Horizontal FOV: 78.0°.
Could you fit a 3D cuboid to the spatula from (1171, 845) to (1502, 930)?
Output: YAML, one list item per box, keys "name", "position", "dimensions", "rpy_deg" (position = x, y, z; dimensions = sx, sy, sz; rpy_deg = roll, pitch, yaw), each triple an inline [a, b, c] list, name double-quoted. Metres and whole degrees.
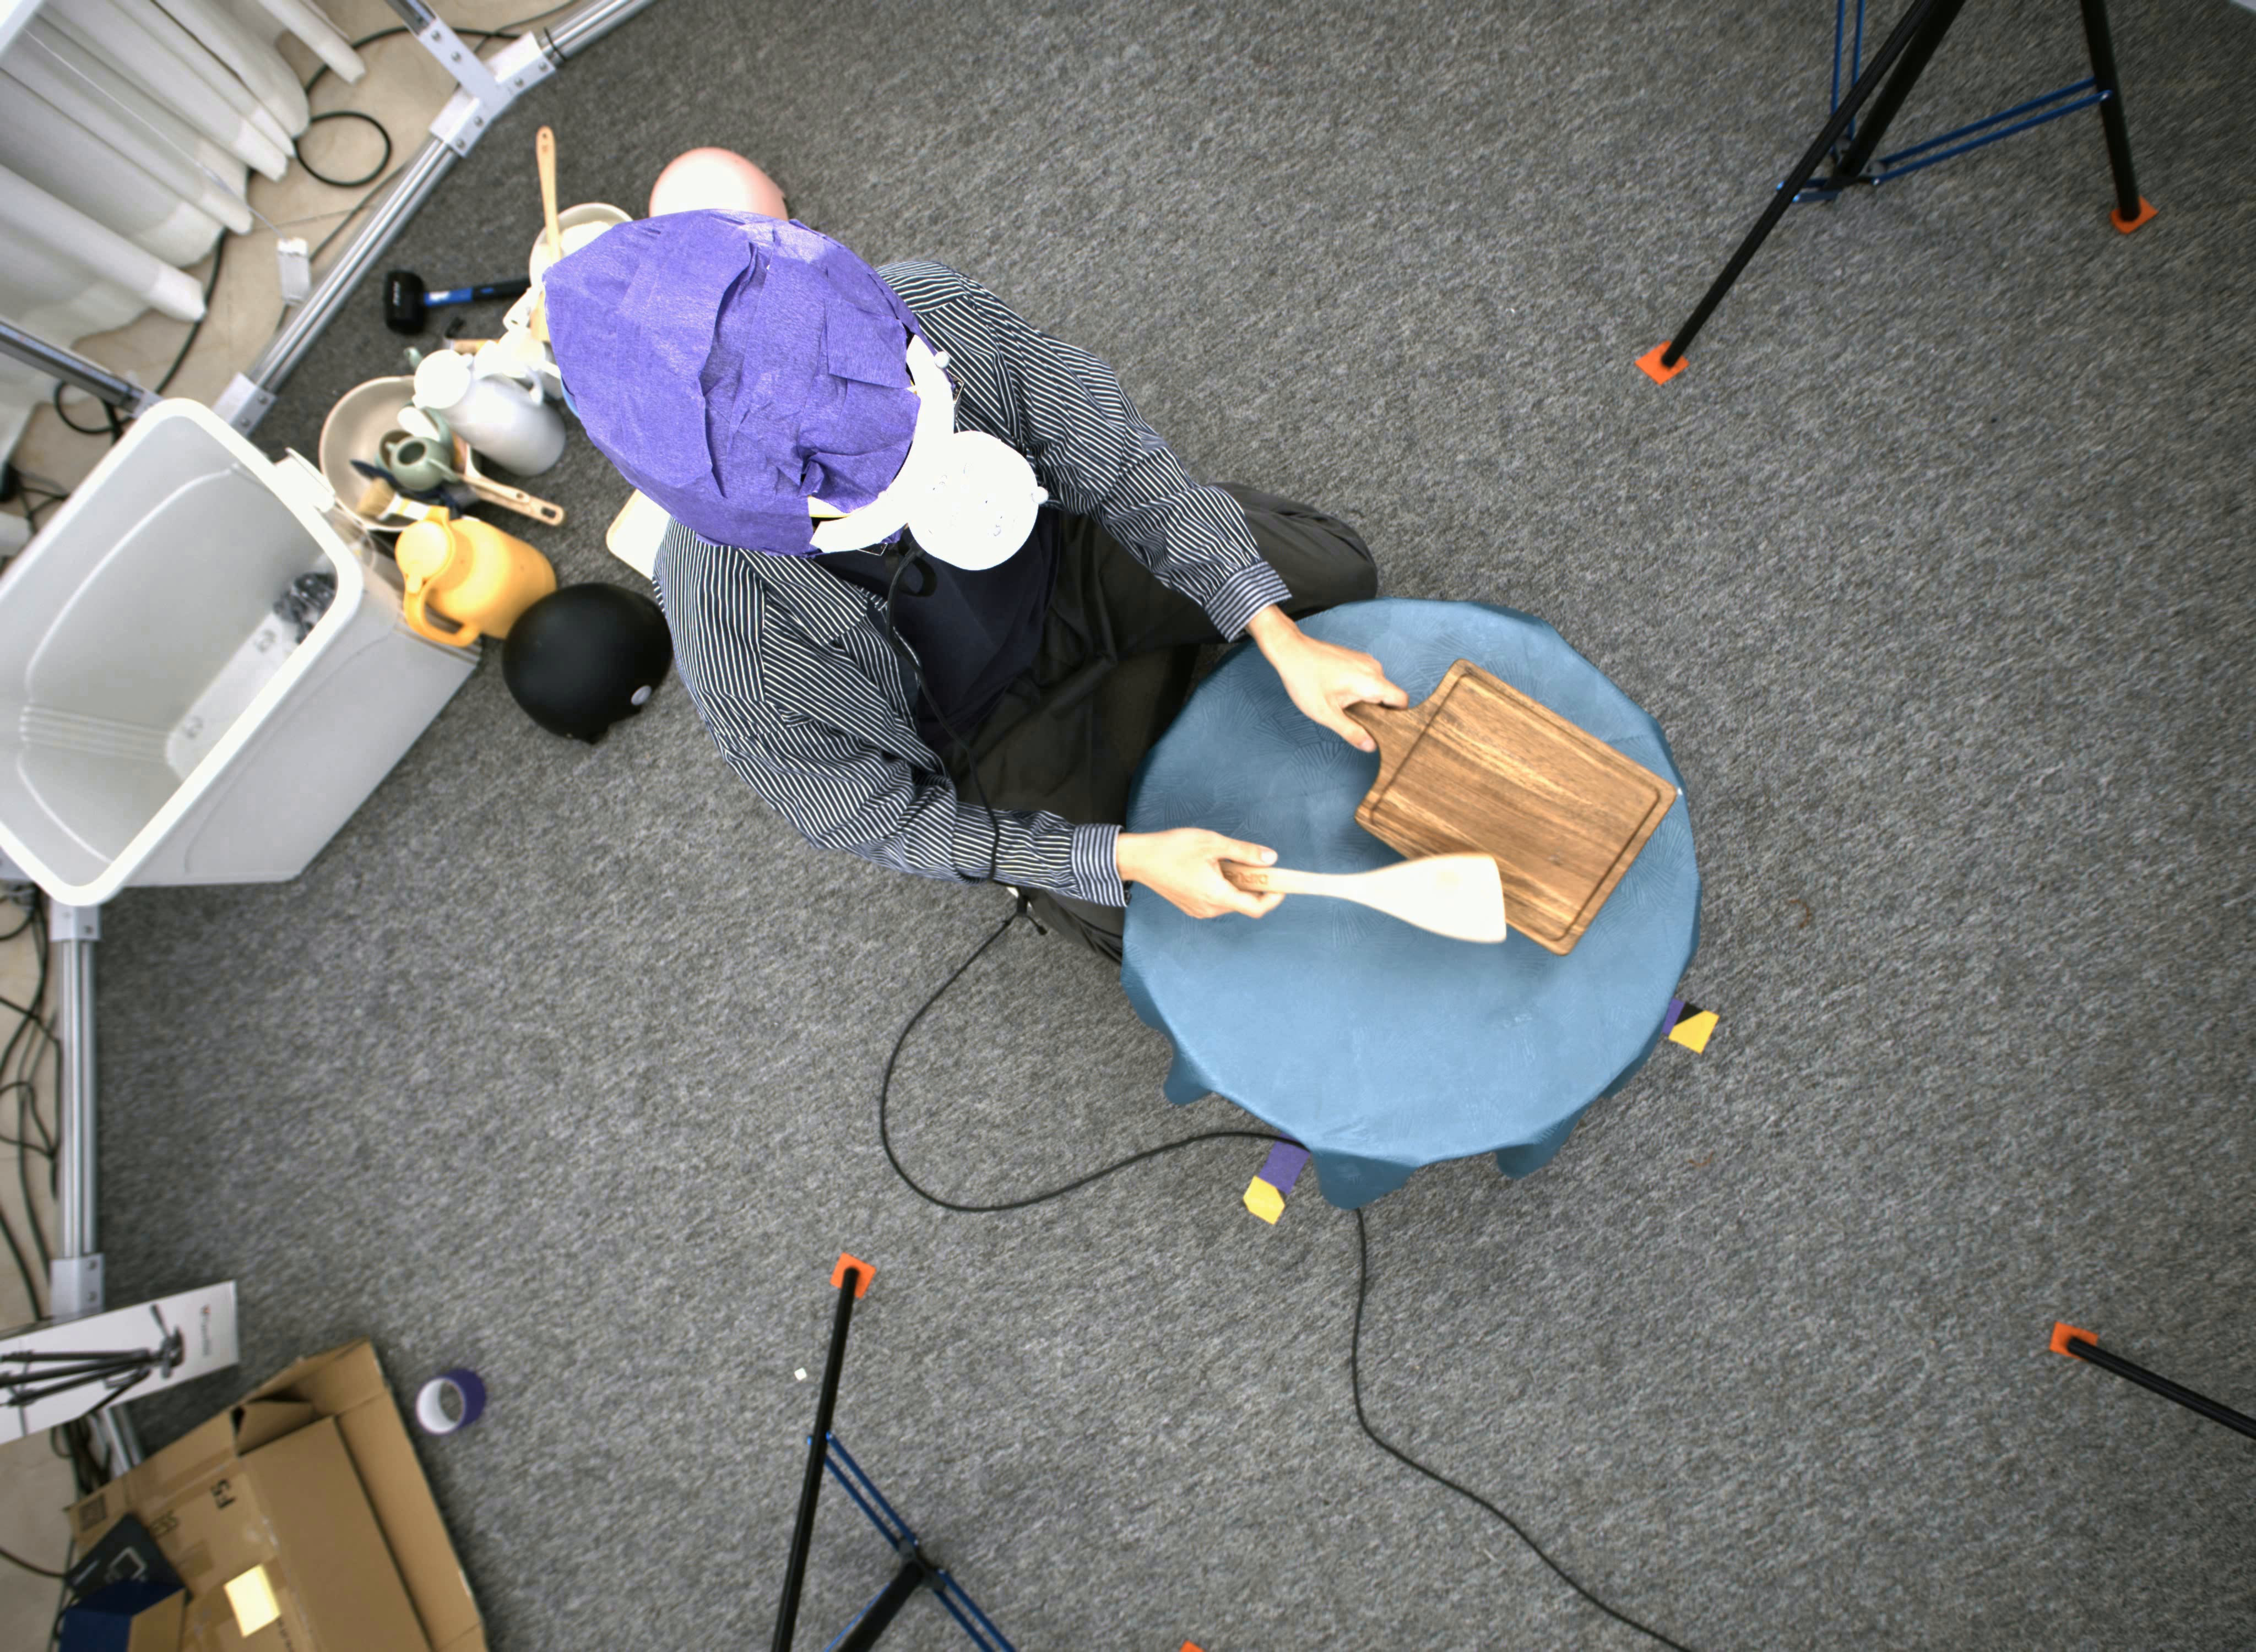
- name: "spatula"
  position: [0.196, 0.051, 1.335]
  dimensions: [0.329, 0.016, 0.080]
  rpy_deg: [2, 99, 20]

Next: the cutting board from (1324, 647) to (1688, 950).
- name: "cutting board"
  position: [0.342, -0.058, 1.347]
  dimensions: [0.351, 0.023, 0.203]
  rpy_deg: [36, 102, 13]
